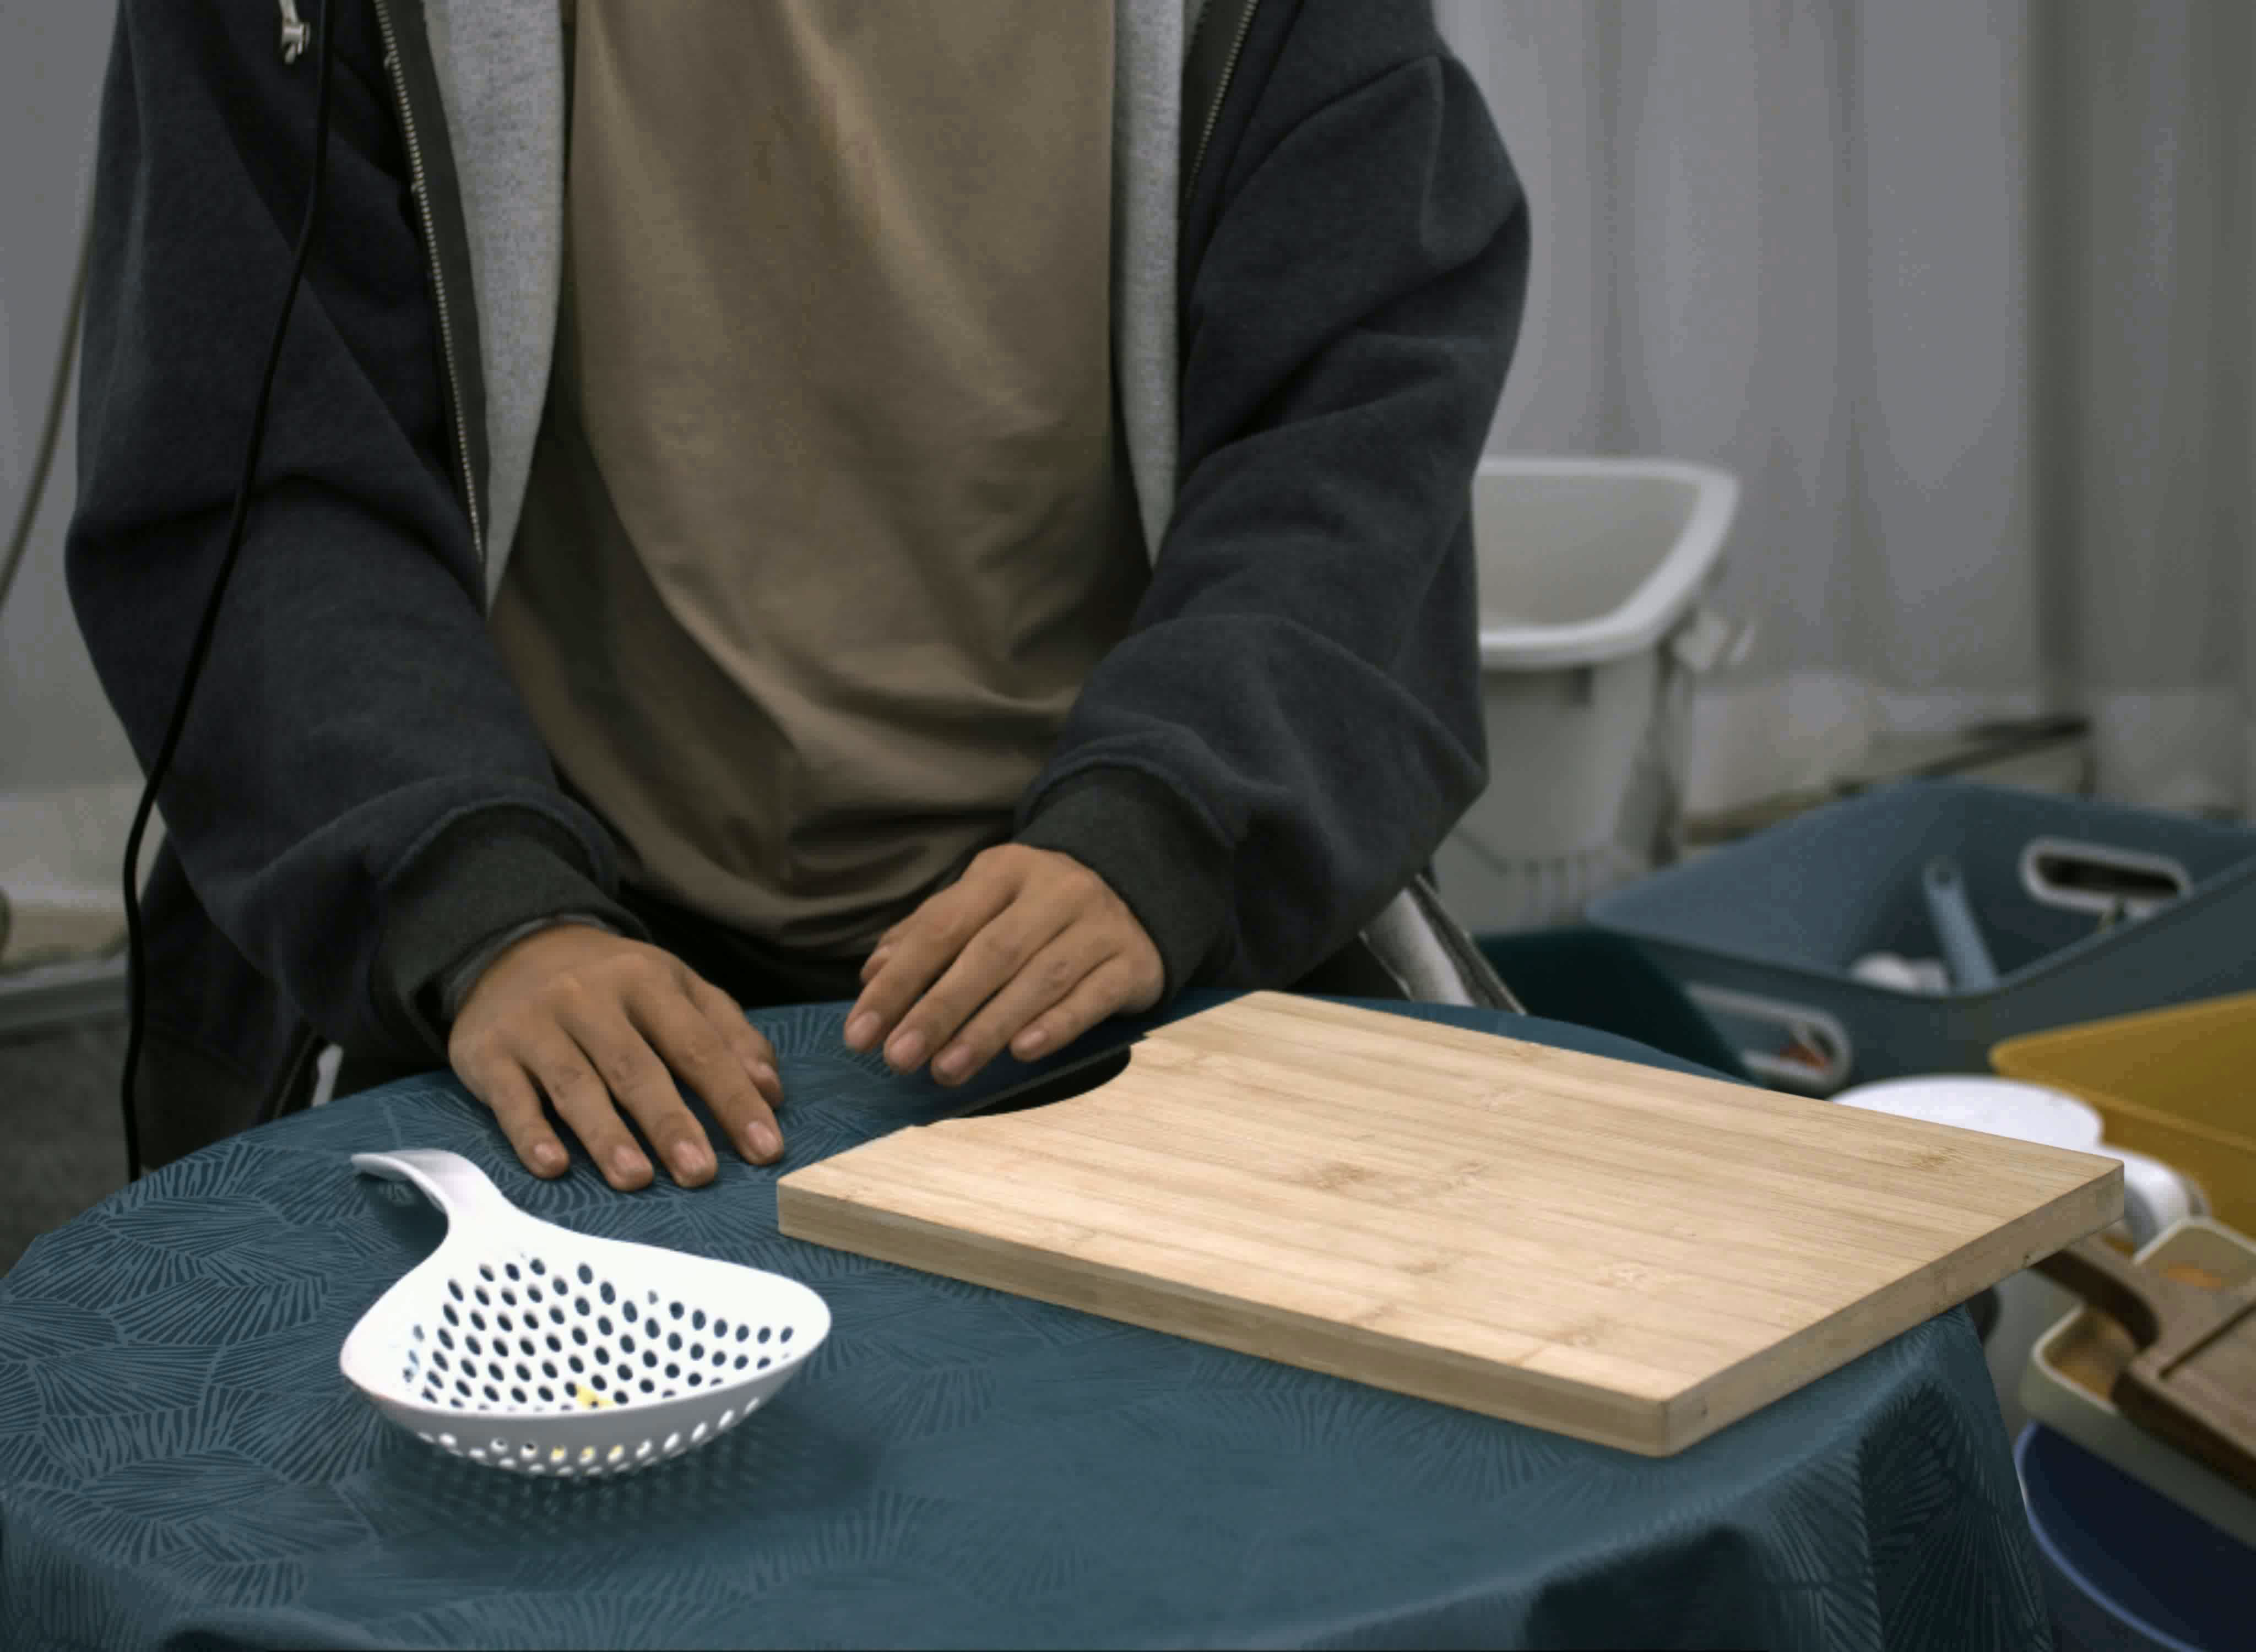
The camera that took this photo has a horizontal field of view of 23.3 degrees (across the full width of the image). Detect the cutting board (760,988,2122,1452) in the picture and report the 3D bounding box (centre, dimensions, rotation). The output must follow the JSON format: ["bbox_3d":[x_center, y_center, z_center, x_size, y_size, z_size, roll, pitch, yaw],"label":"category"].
[{"bbox_3d":[0.092,0.114,1.670,0.350,0.023,0.250,10,19,39],"label":"cutting board"}]

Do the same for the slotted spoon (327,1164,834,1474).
[{"bbox_3d":[-0.186,0.131,1.611,0.136,0.050,0.351,-10,17,-18],"label":"slotted spoon"}]
